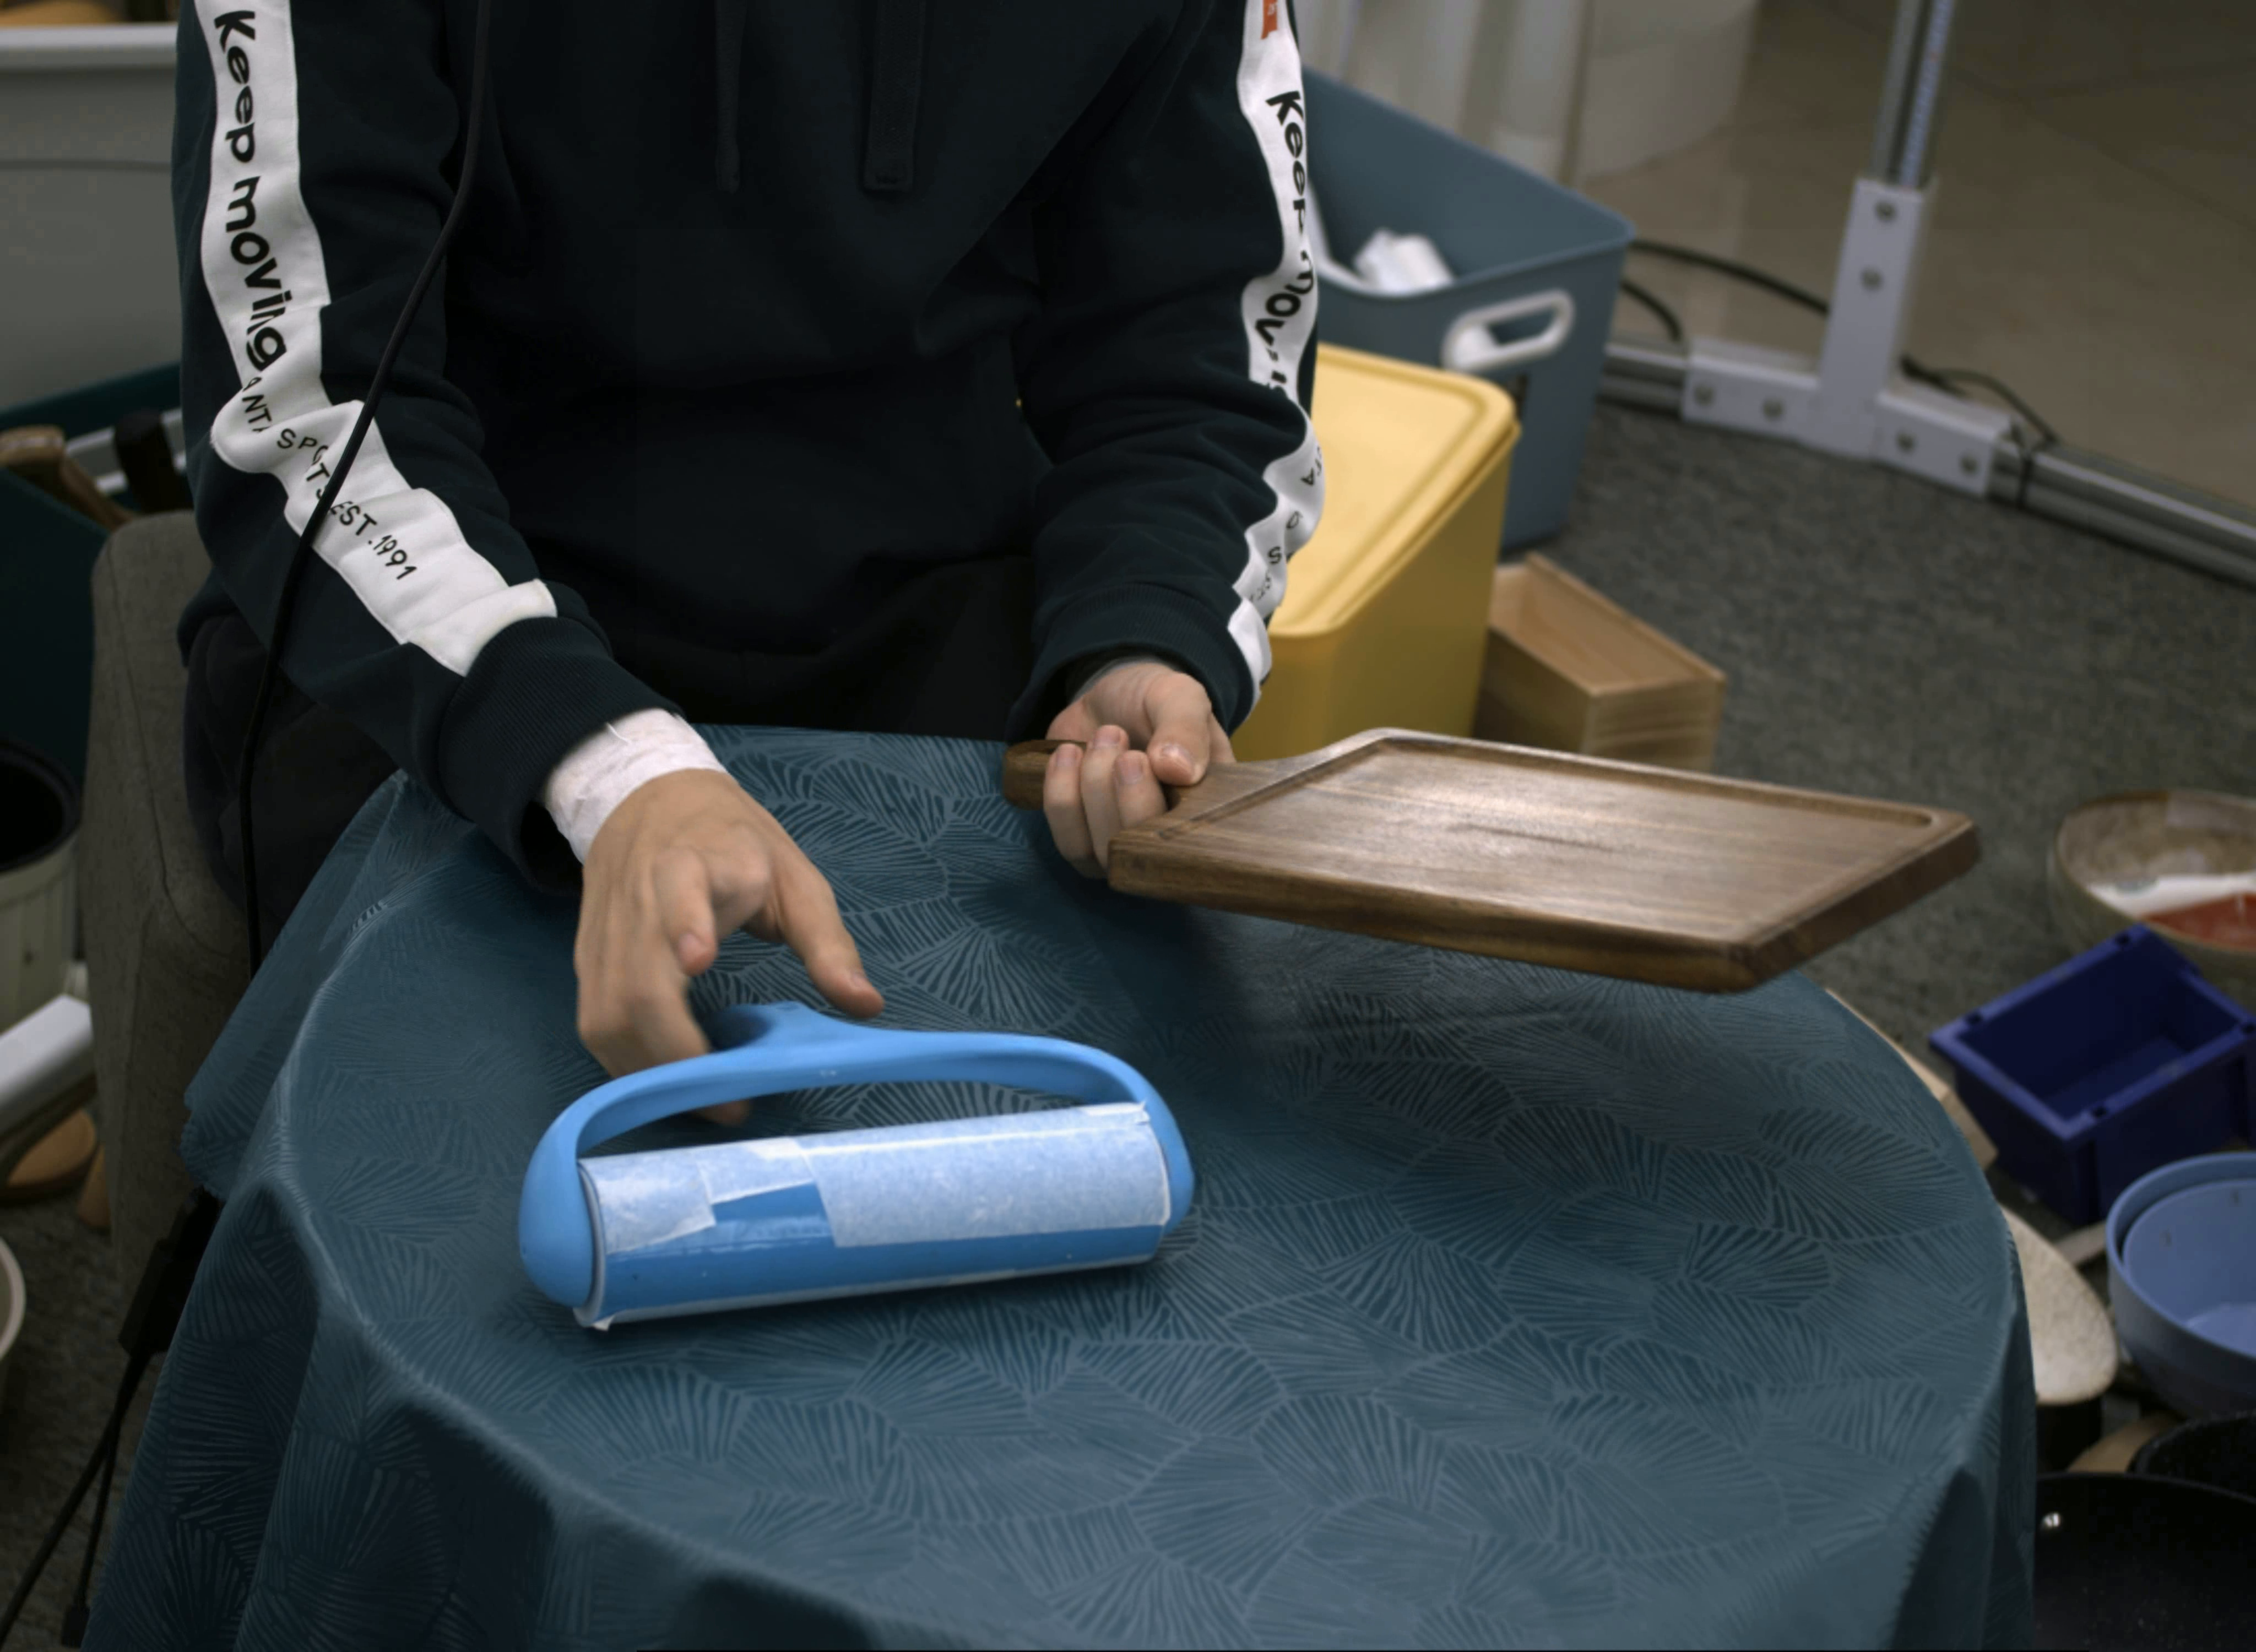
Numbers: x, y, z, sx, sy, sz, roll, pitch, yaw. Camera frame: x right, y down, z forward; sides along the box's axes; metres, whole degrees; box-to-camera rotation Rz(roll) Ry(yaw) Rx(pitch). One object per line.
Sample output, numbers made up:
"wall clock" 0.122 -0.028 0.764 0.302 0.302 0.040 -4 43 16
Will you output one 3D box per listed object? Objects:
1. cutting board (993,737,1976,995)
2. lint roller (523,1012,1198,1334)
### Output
"cutting board" 0.105 0.004 1.892 0.354 0.023 0.200 9 16 30
"lint roller" -0.108 0.097 1.764 0.227 0.067 0.182 -8 31 -23
